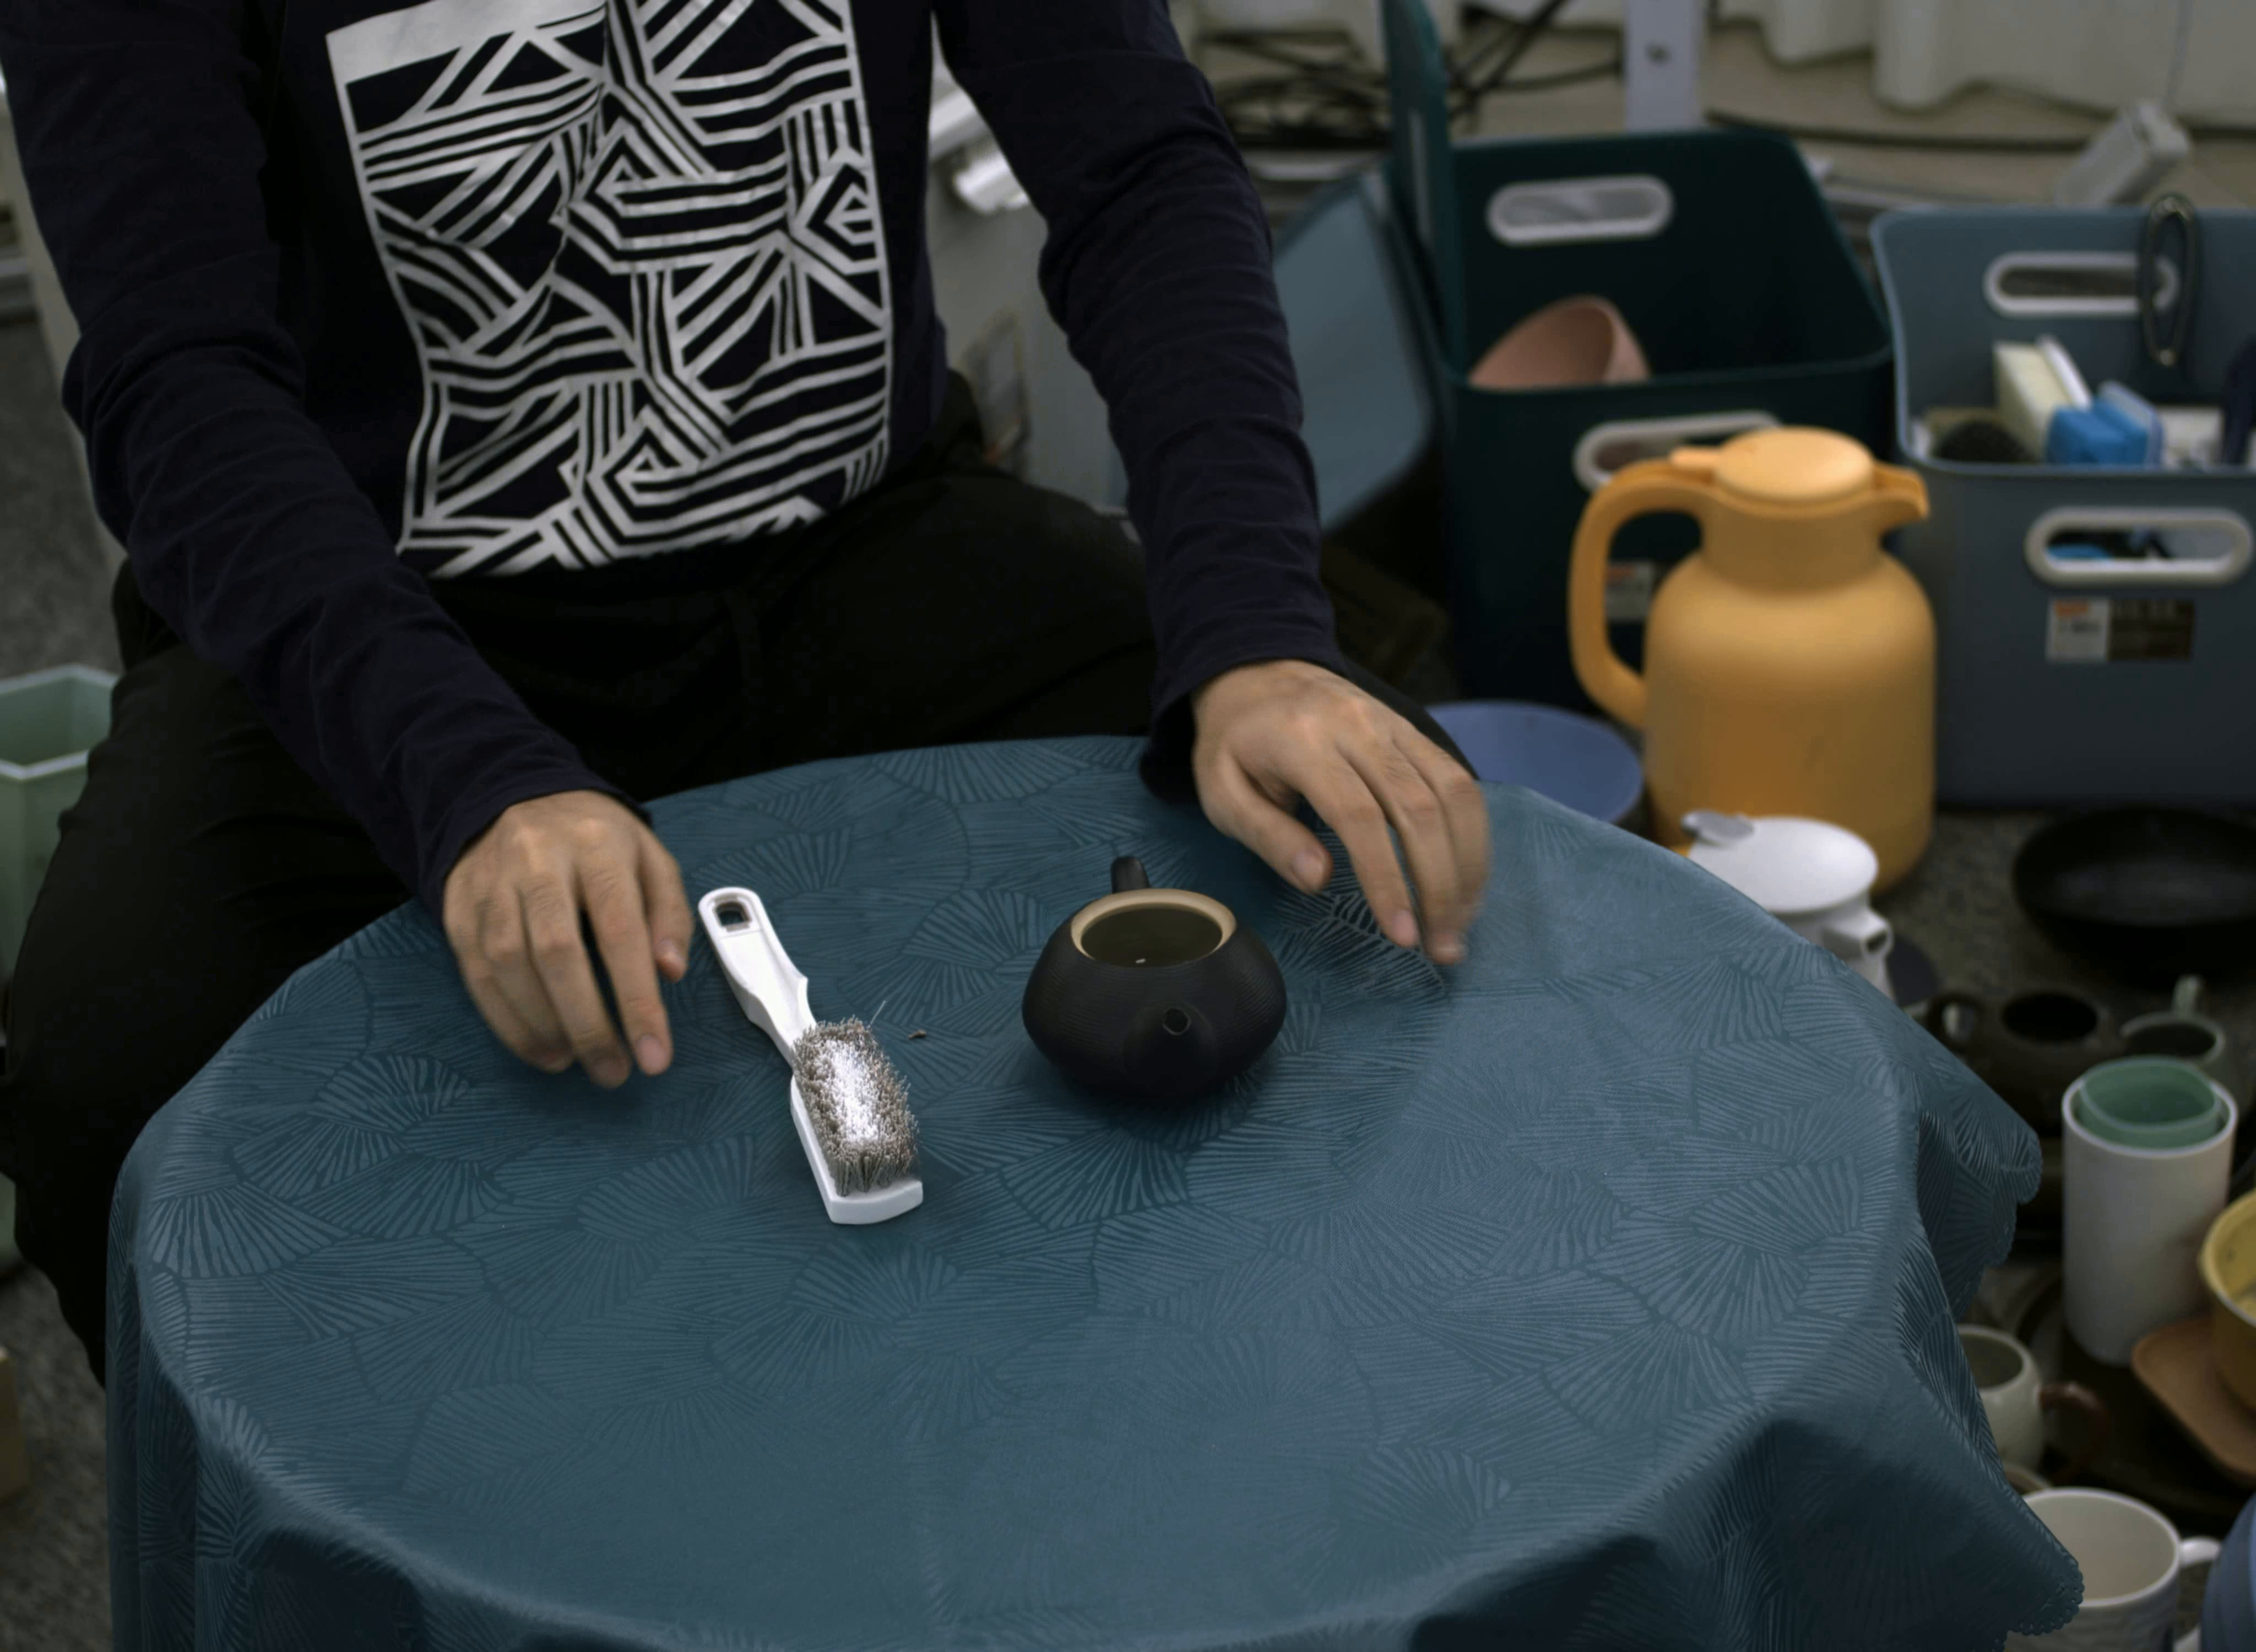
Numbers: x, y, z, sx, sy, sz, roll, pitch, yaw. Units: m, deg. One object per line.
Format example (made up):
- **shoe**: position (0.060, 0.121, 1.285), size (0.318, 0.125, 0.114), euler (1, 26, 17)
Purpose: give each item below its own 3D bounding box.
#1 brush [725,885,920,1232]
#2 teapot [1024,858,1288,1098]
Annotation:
- **brush**: position (-0.111, 0.062, 1.933), size (0.034, 0.050, 0.246), euler (-13, 29, -8)
- **teapot**: position (0.009, 0.058, 1.925), size (0.091, 0.052, 0.135), euler (-4, 27, -8)
